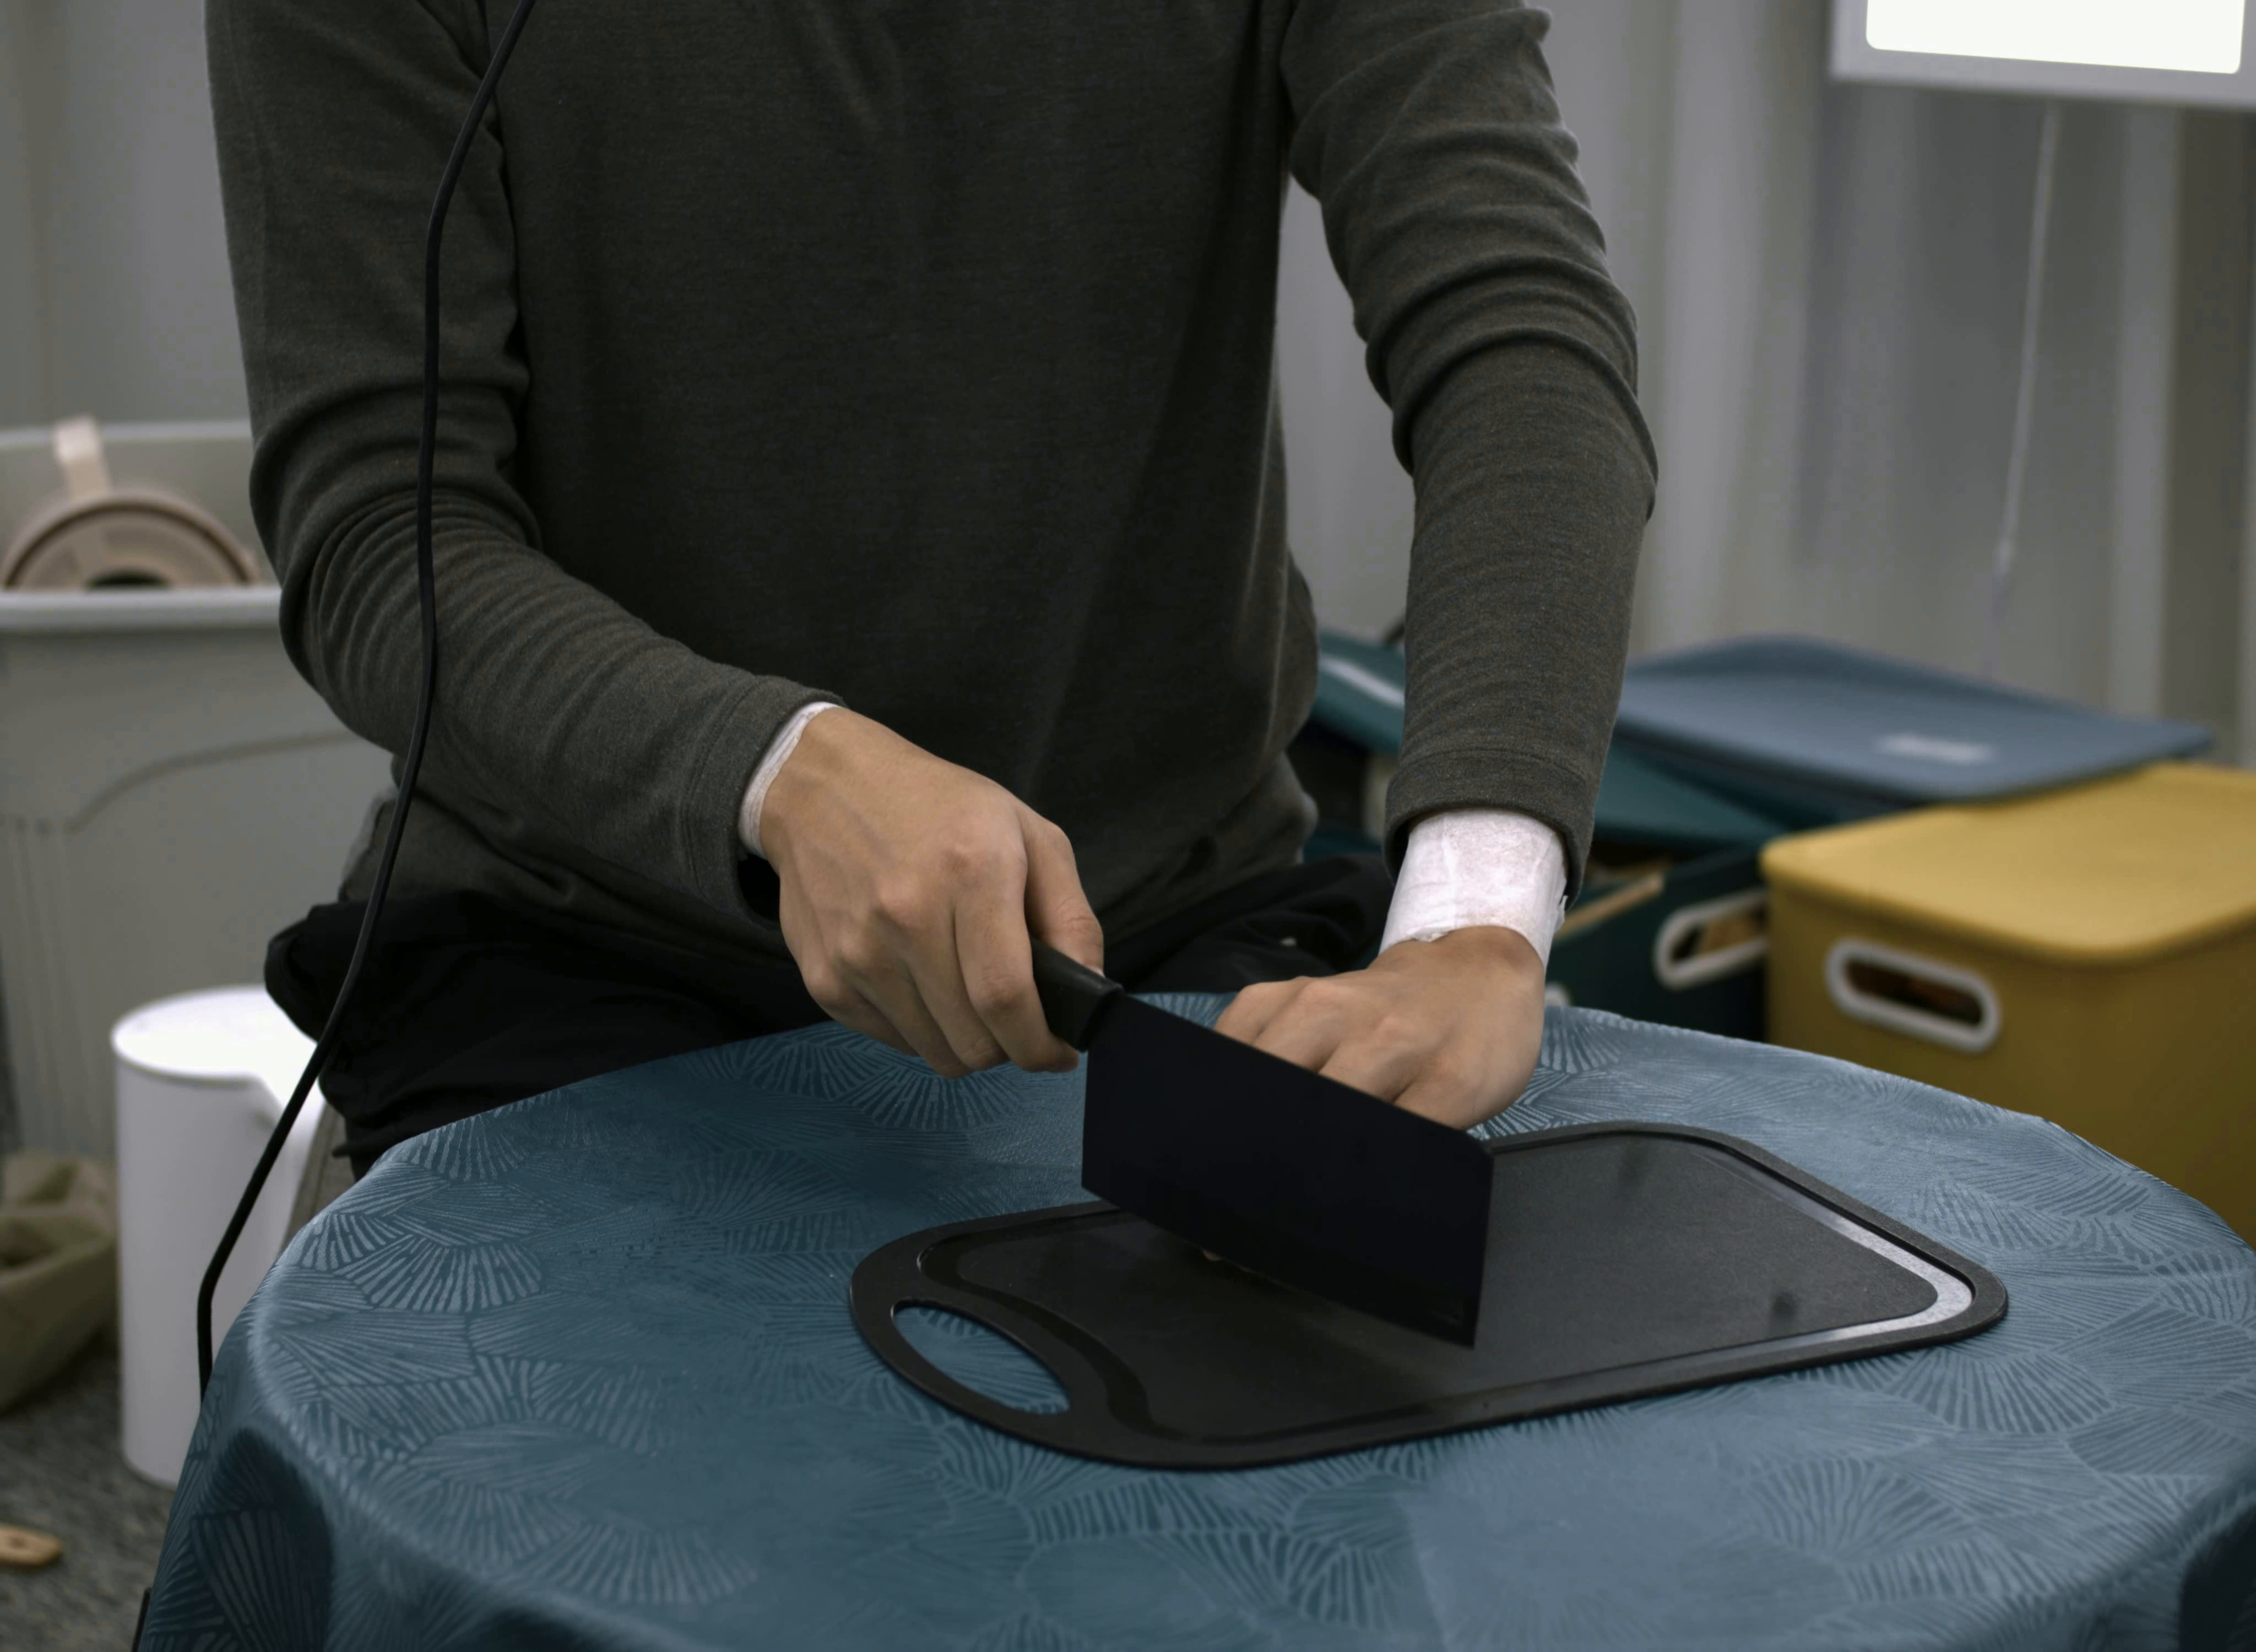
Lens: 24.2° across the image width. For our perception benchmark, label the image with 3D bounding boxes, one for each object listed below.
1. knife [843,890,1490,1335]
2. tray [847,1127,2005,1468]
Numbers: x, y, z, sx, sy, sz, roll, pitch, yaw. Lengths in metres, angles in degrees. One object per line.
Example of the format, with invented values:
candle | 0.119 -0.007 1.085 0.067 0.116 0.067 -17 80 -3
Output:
knife | 0.007 0.078 1.558 0.021 0.081 0.298 -6 21 -38
tray | 0.081 0.133 1.539 0.326 0.010 0.208 -7 16 -25
